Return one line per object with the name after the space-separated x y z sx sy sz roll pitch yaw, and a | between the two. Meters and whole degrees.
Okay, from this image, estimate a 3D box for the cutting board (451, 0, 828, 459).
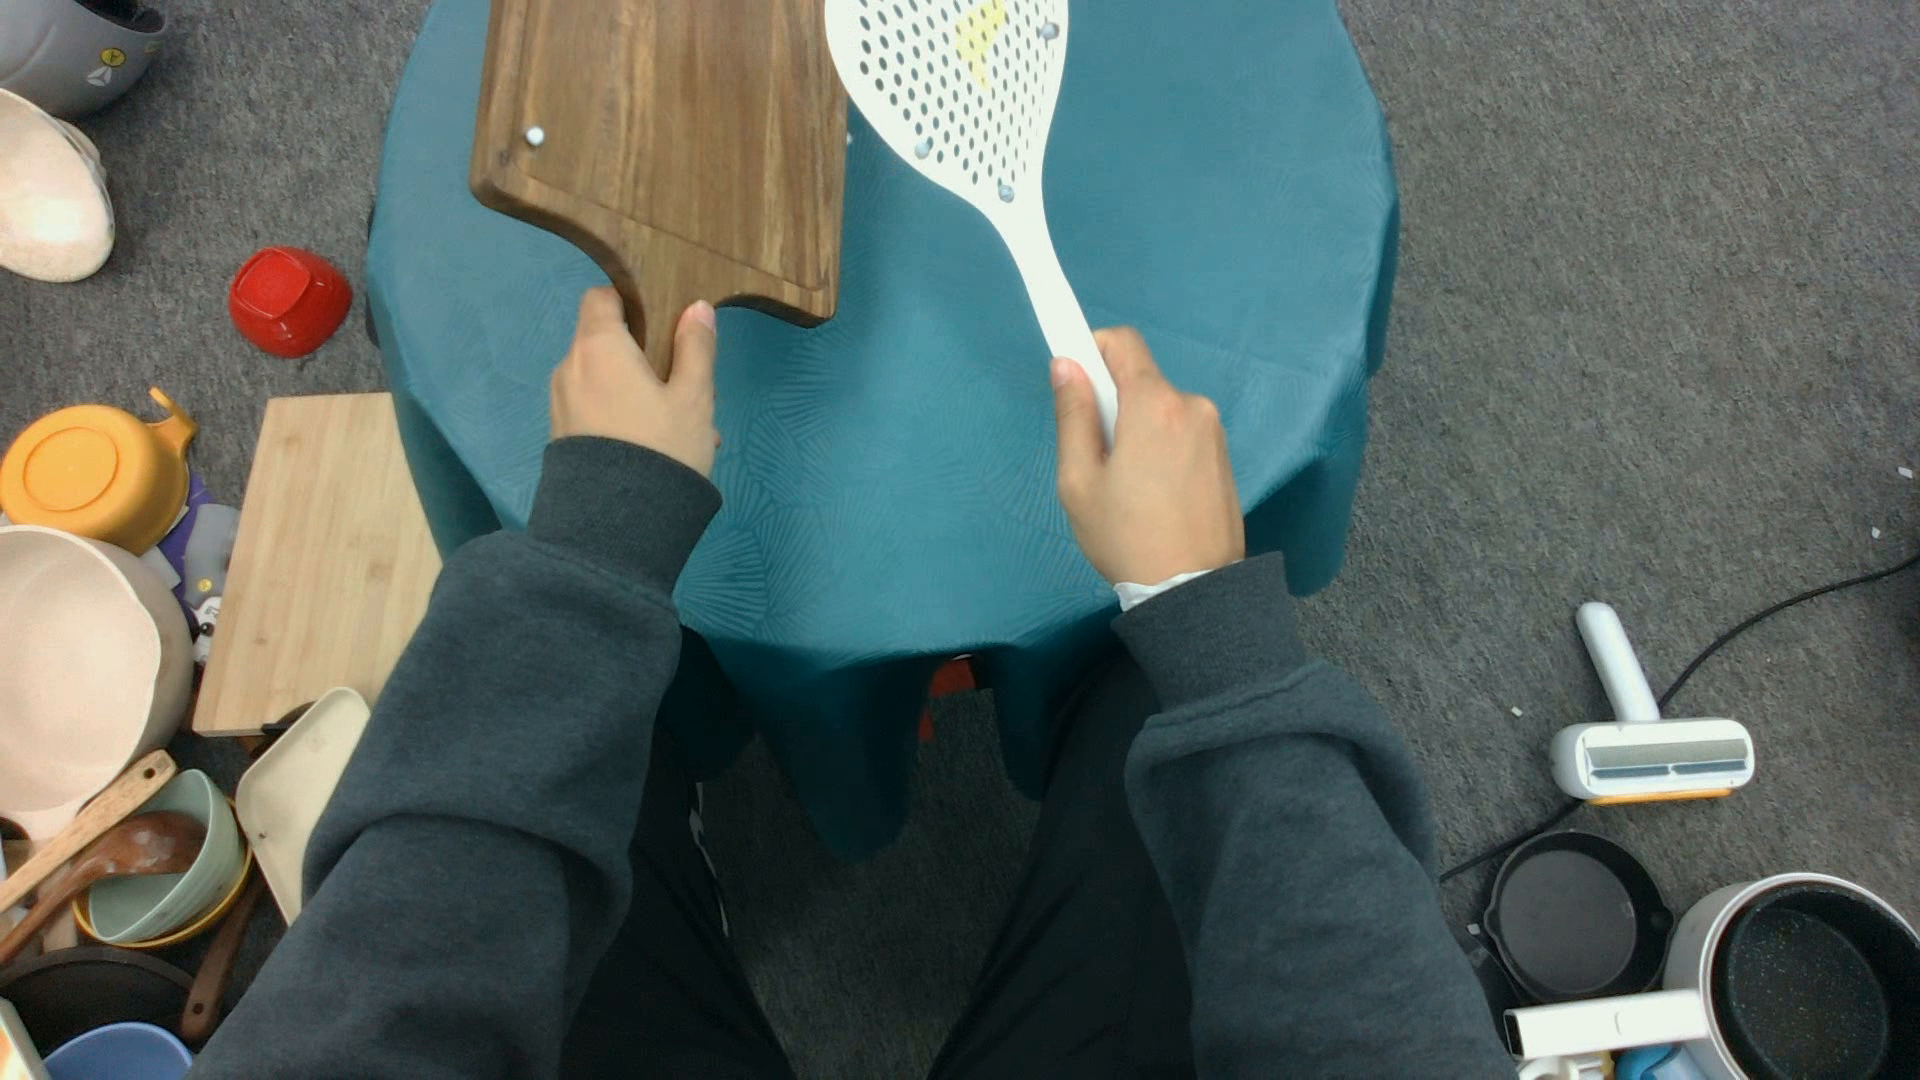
-0.150 -0.210 0.686 0.201 0.023 0.353 14 69 -42 | cutting board

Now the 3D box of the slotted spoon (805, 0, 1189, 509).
0.026 -0.172 0.656 0.136 0.050 0.348 -28 72 28 | slotted spoon
